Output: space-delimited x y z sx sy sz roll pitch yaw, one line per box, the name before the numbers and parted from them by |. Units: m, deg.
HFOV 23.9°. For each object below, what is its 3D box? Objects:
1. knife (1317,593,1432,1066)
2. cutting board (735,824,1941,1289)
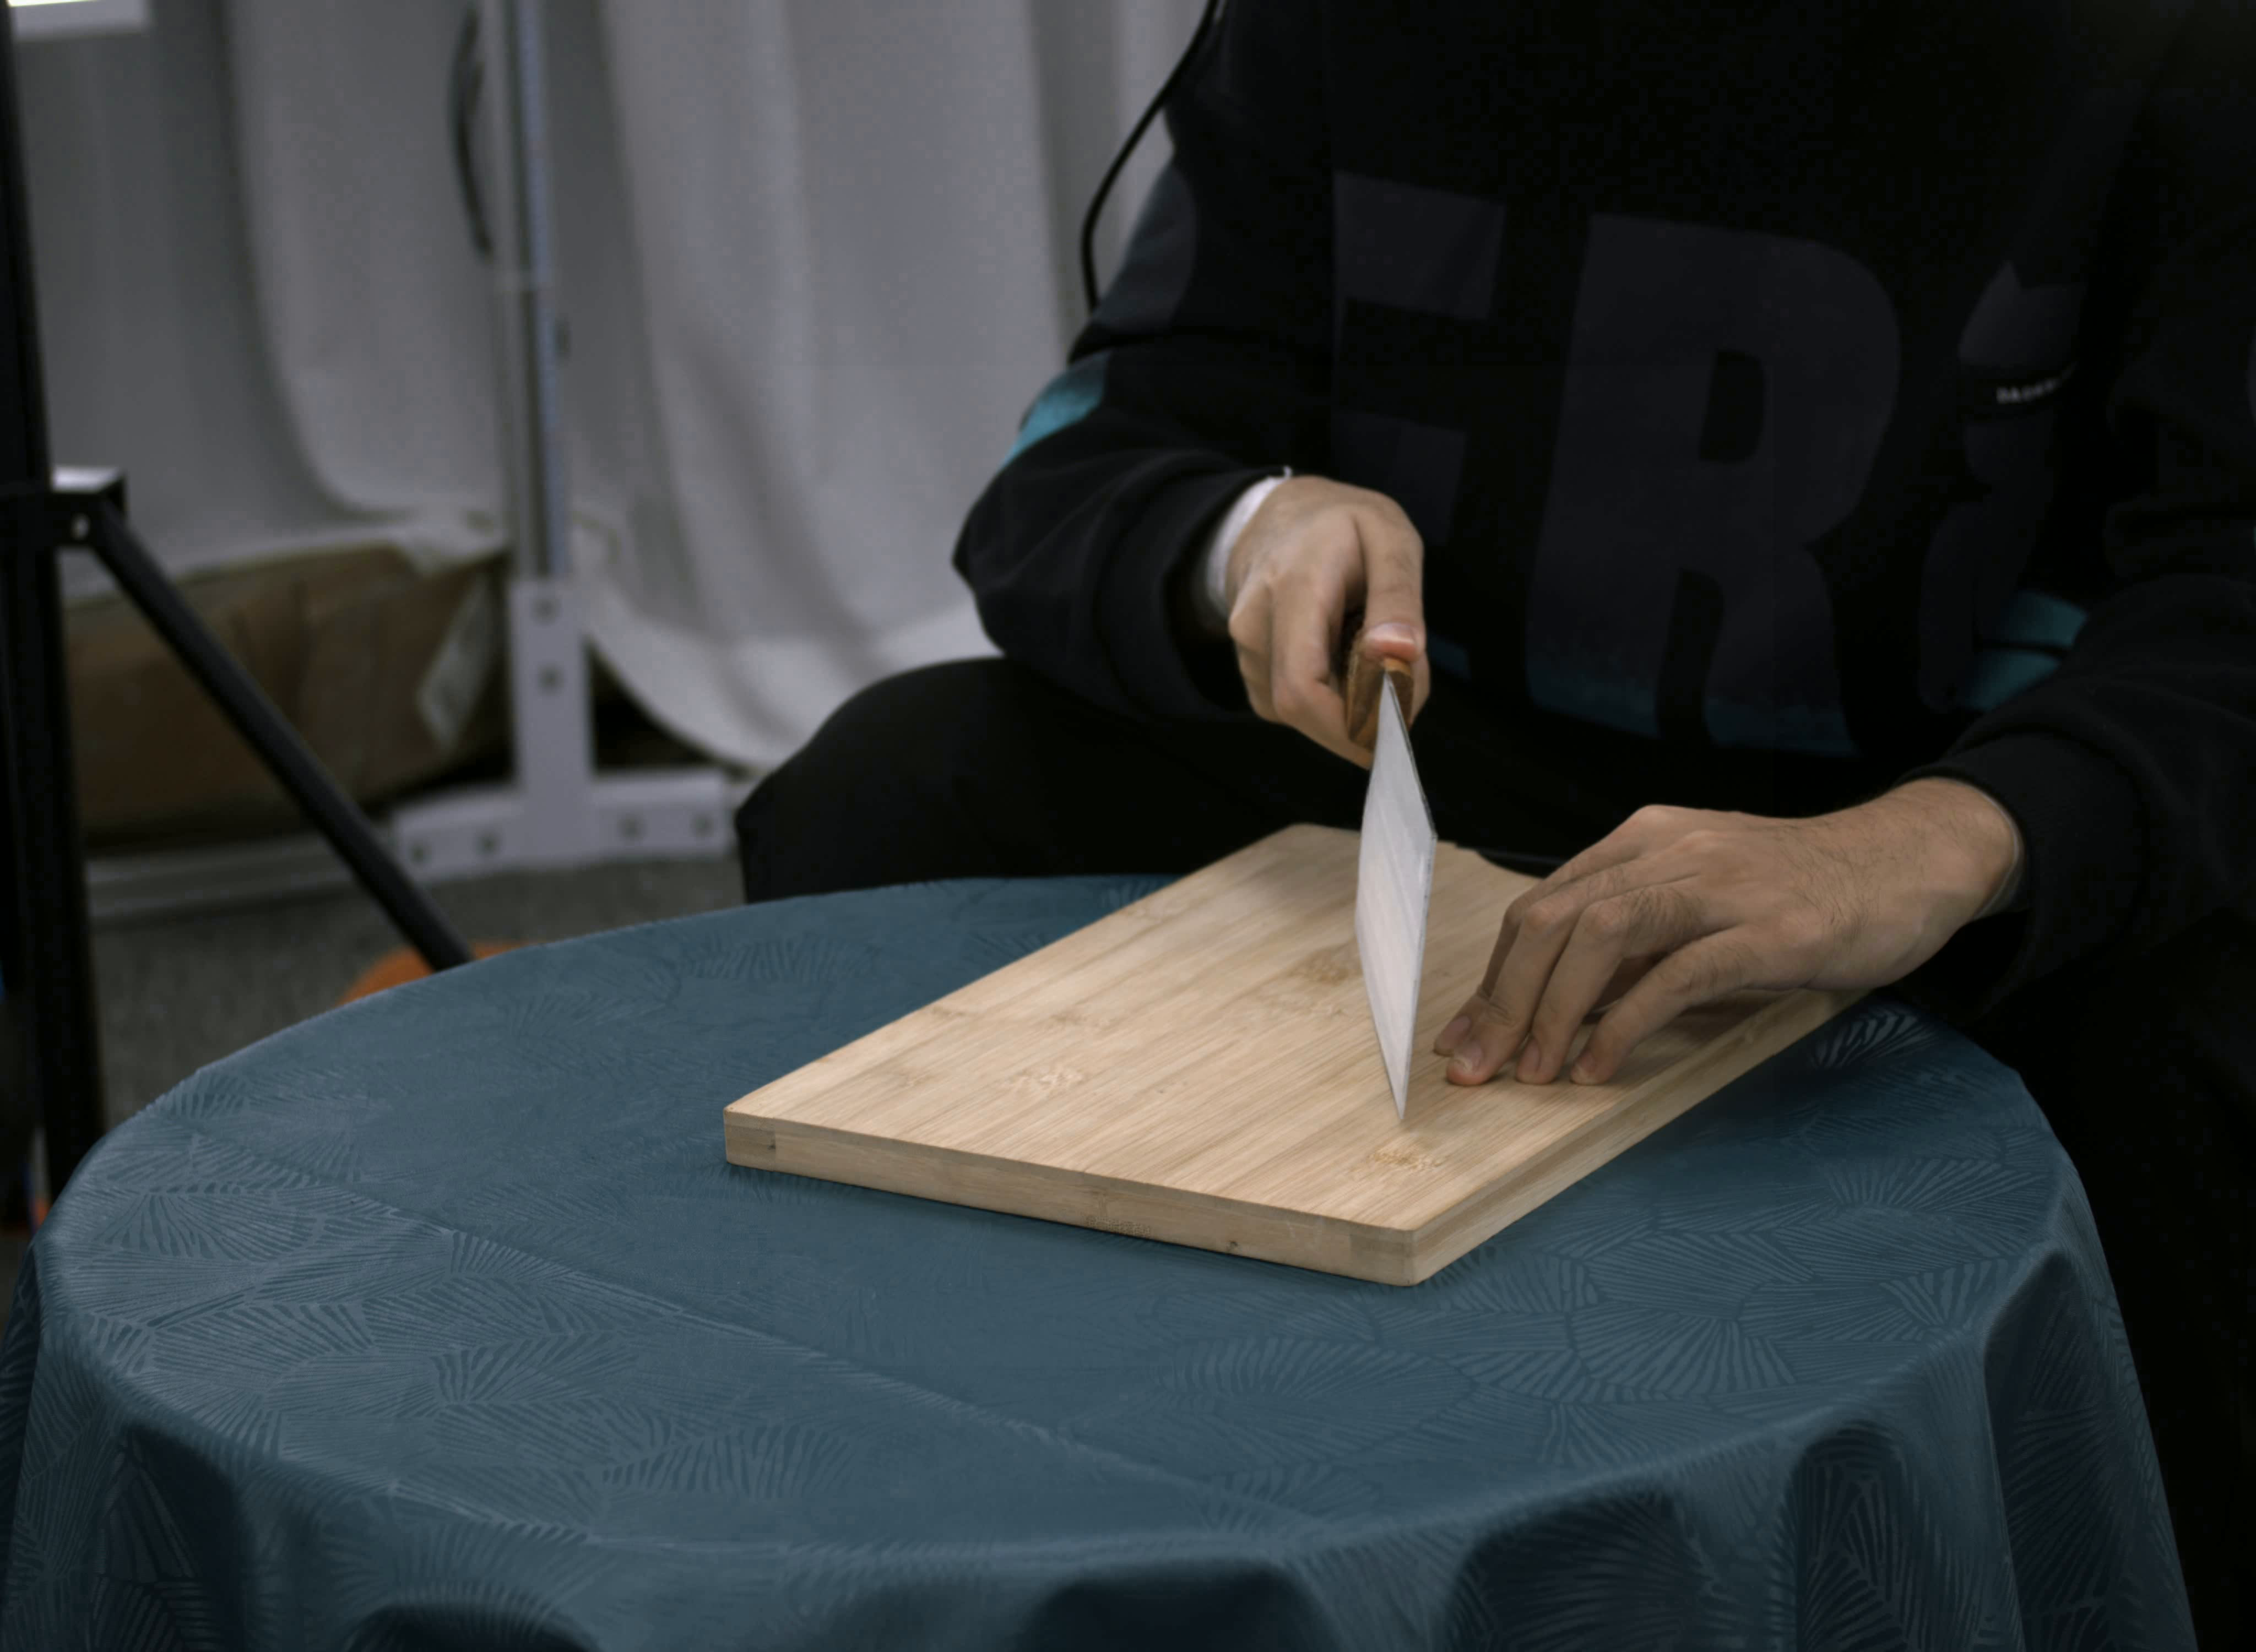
knife | 0.078 0.000 1.675 0.021 0.093 0.307 4 16 -3
cutting board | 0.073 0.064 1.669 0.255 0.023 0.342 7 19 32
